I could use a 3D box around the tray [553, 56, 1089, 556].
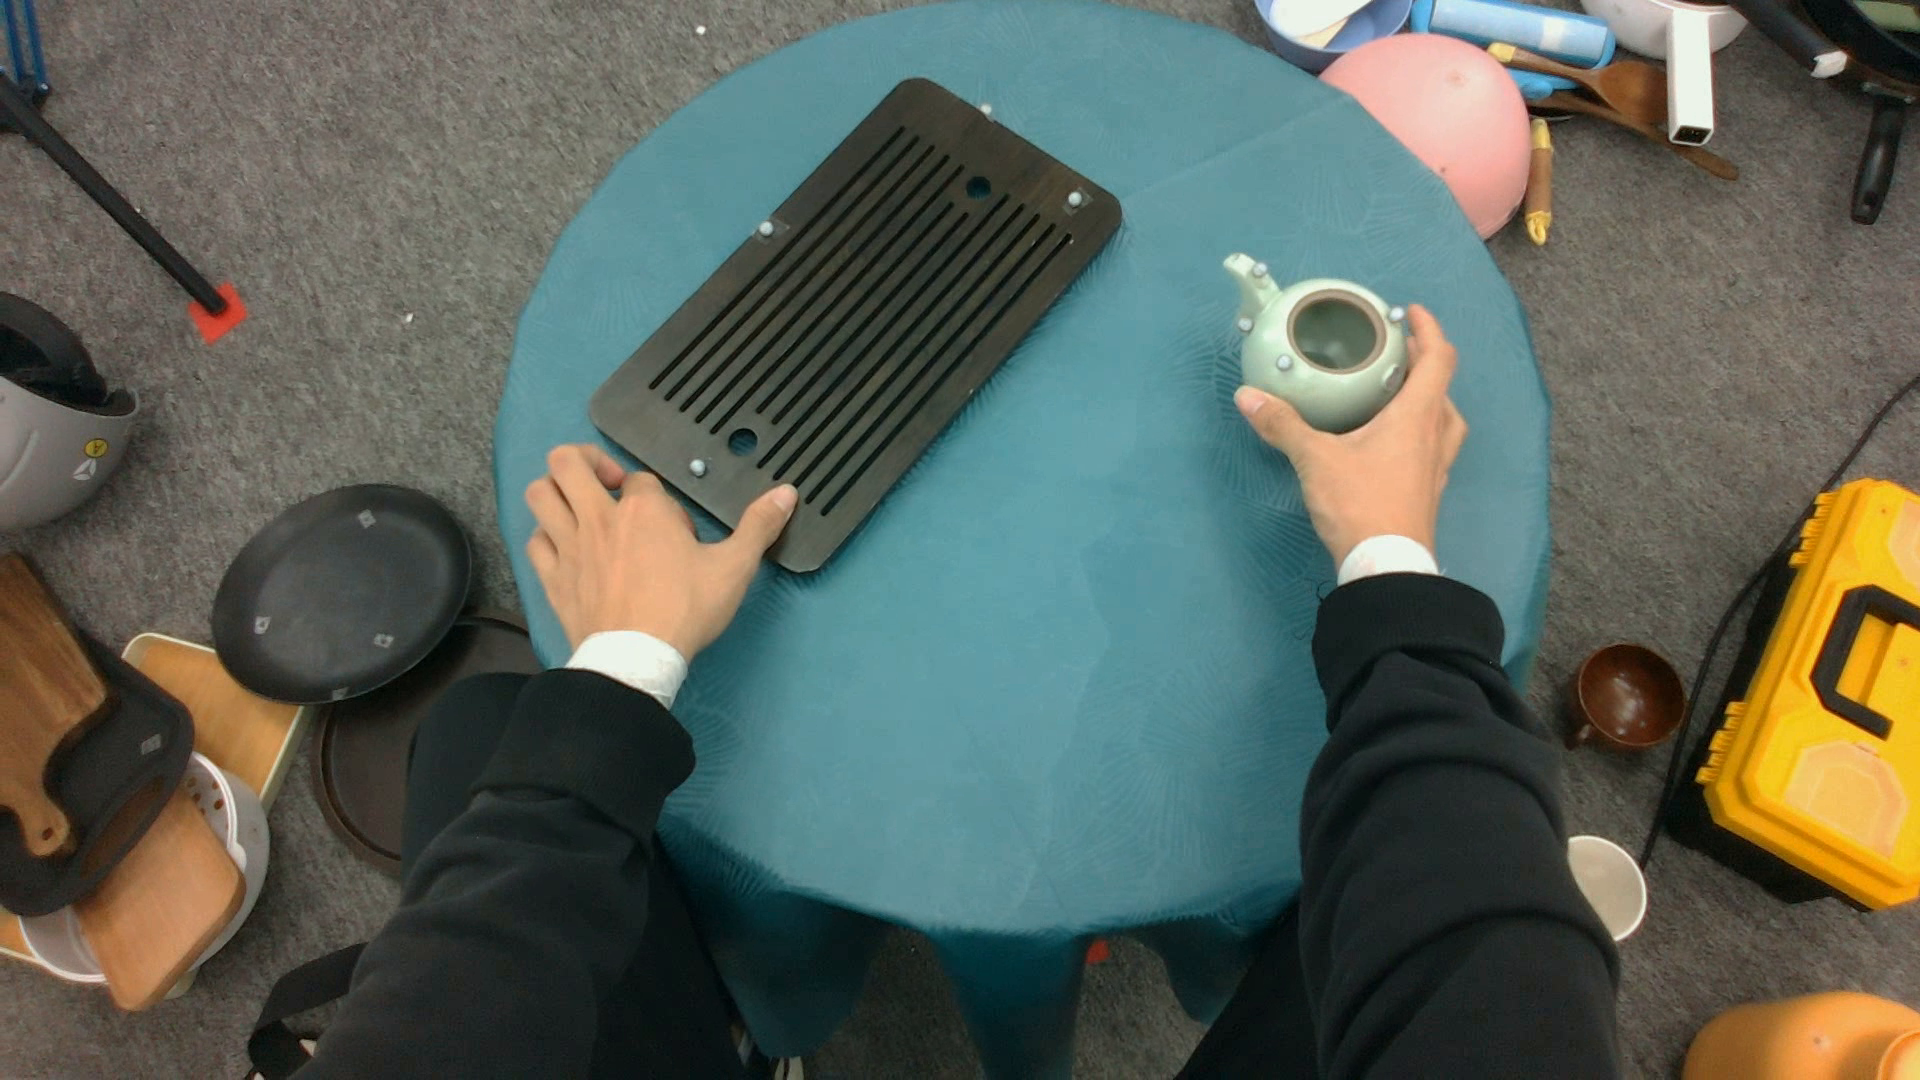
[{"bbox_3d":[-0.076,-0.145,0.803,0.170,0.018,0.307,35,72,13],"label":"tray"}]

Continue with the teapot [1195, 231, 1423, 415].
[{"bbox_3d":[0.186,-0.113,0.762,0.144,0.074,0.088,38,73,16],"label":"teapot"}]
